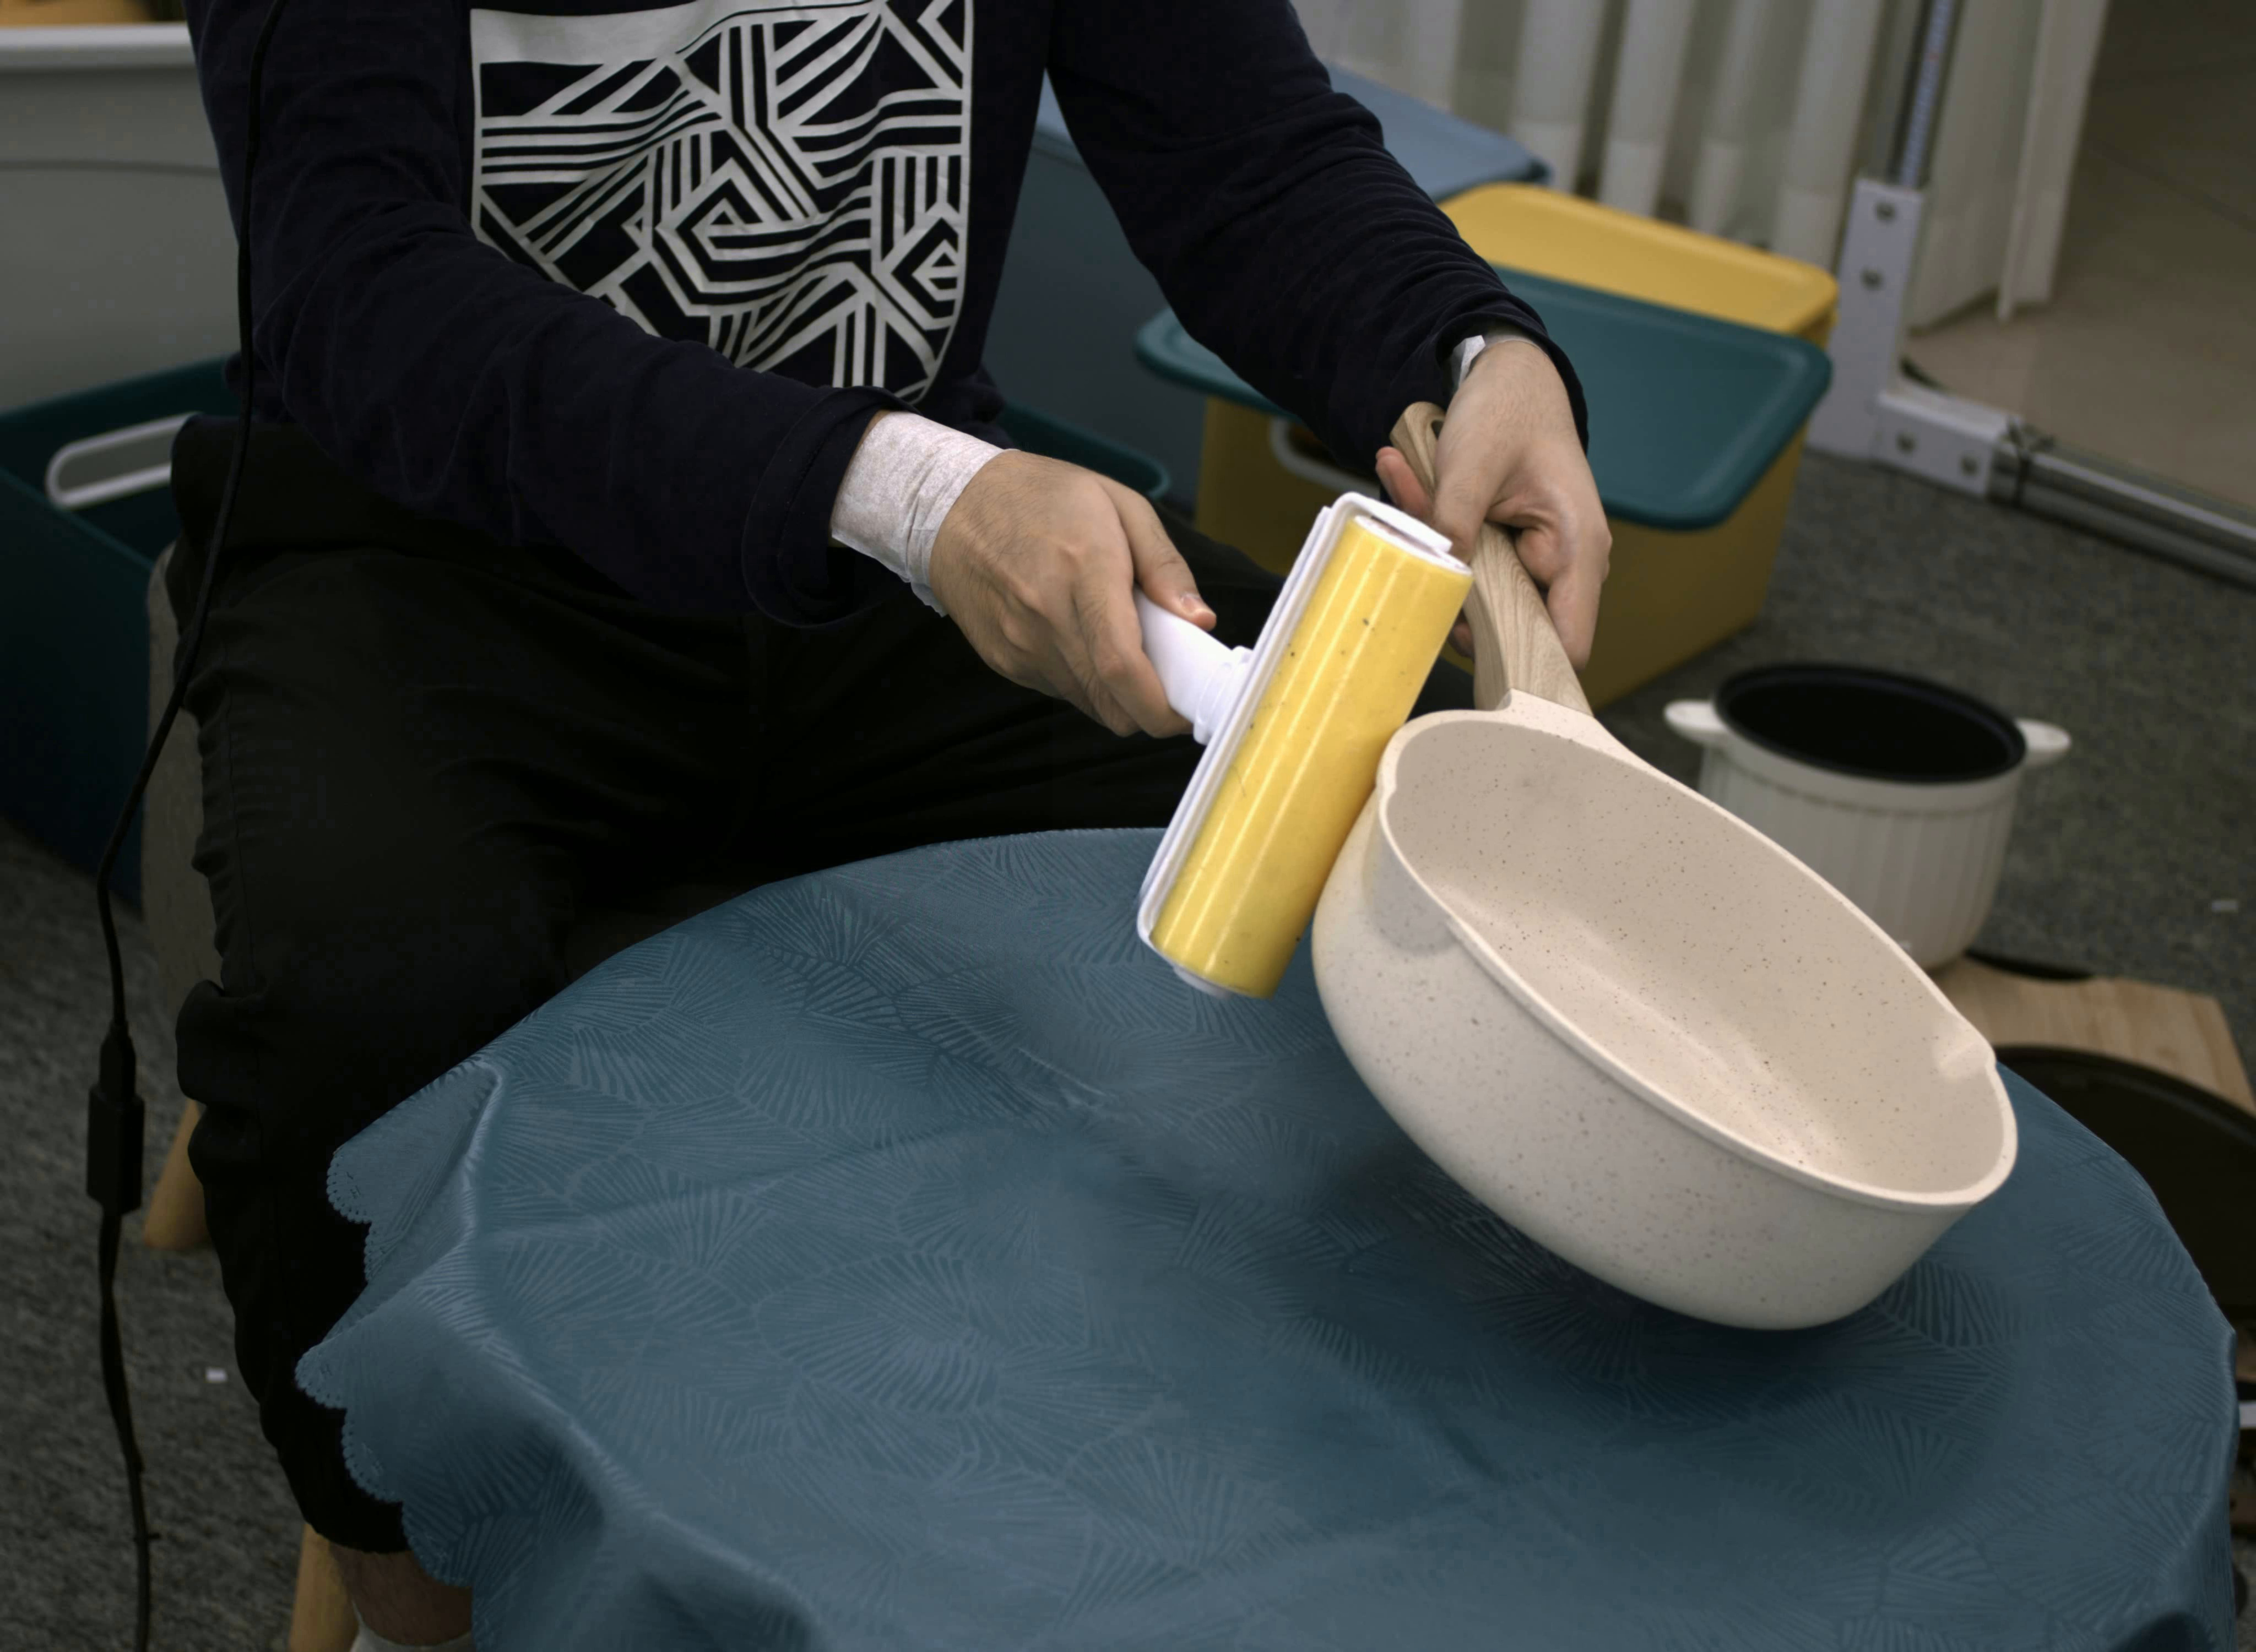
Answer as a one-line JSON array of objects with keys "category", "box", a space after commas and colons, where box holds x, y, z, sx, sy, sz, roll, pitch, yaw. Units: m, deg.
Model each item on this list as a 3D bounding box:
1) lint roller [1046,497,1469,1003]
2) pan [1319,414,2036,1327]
[{"category": "lint roller", "box": [0.018, -0.050, 1.851, 0.051, 0.174, 0.193, 17, 12, -44]}, {"category": "pan", "box": [0.151, 0.012, 1.853, 0.261, 0.102, 0.439, 15, 29, -29]}]
